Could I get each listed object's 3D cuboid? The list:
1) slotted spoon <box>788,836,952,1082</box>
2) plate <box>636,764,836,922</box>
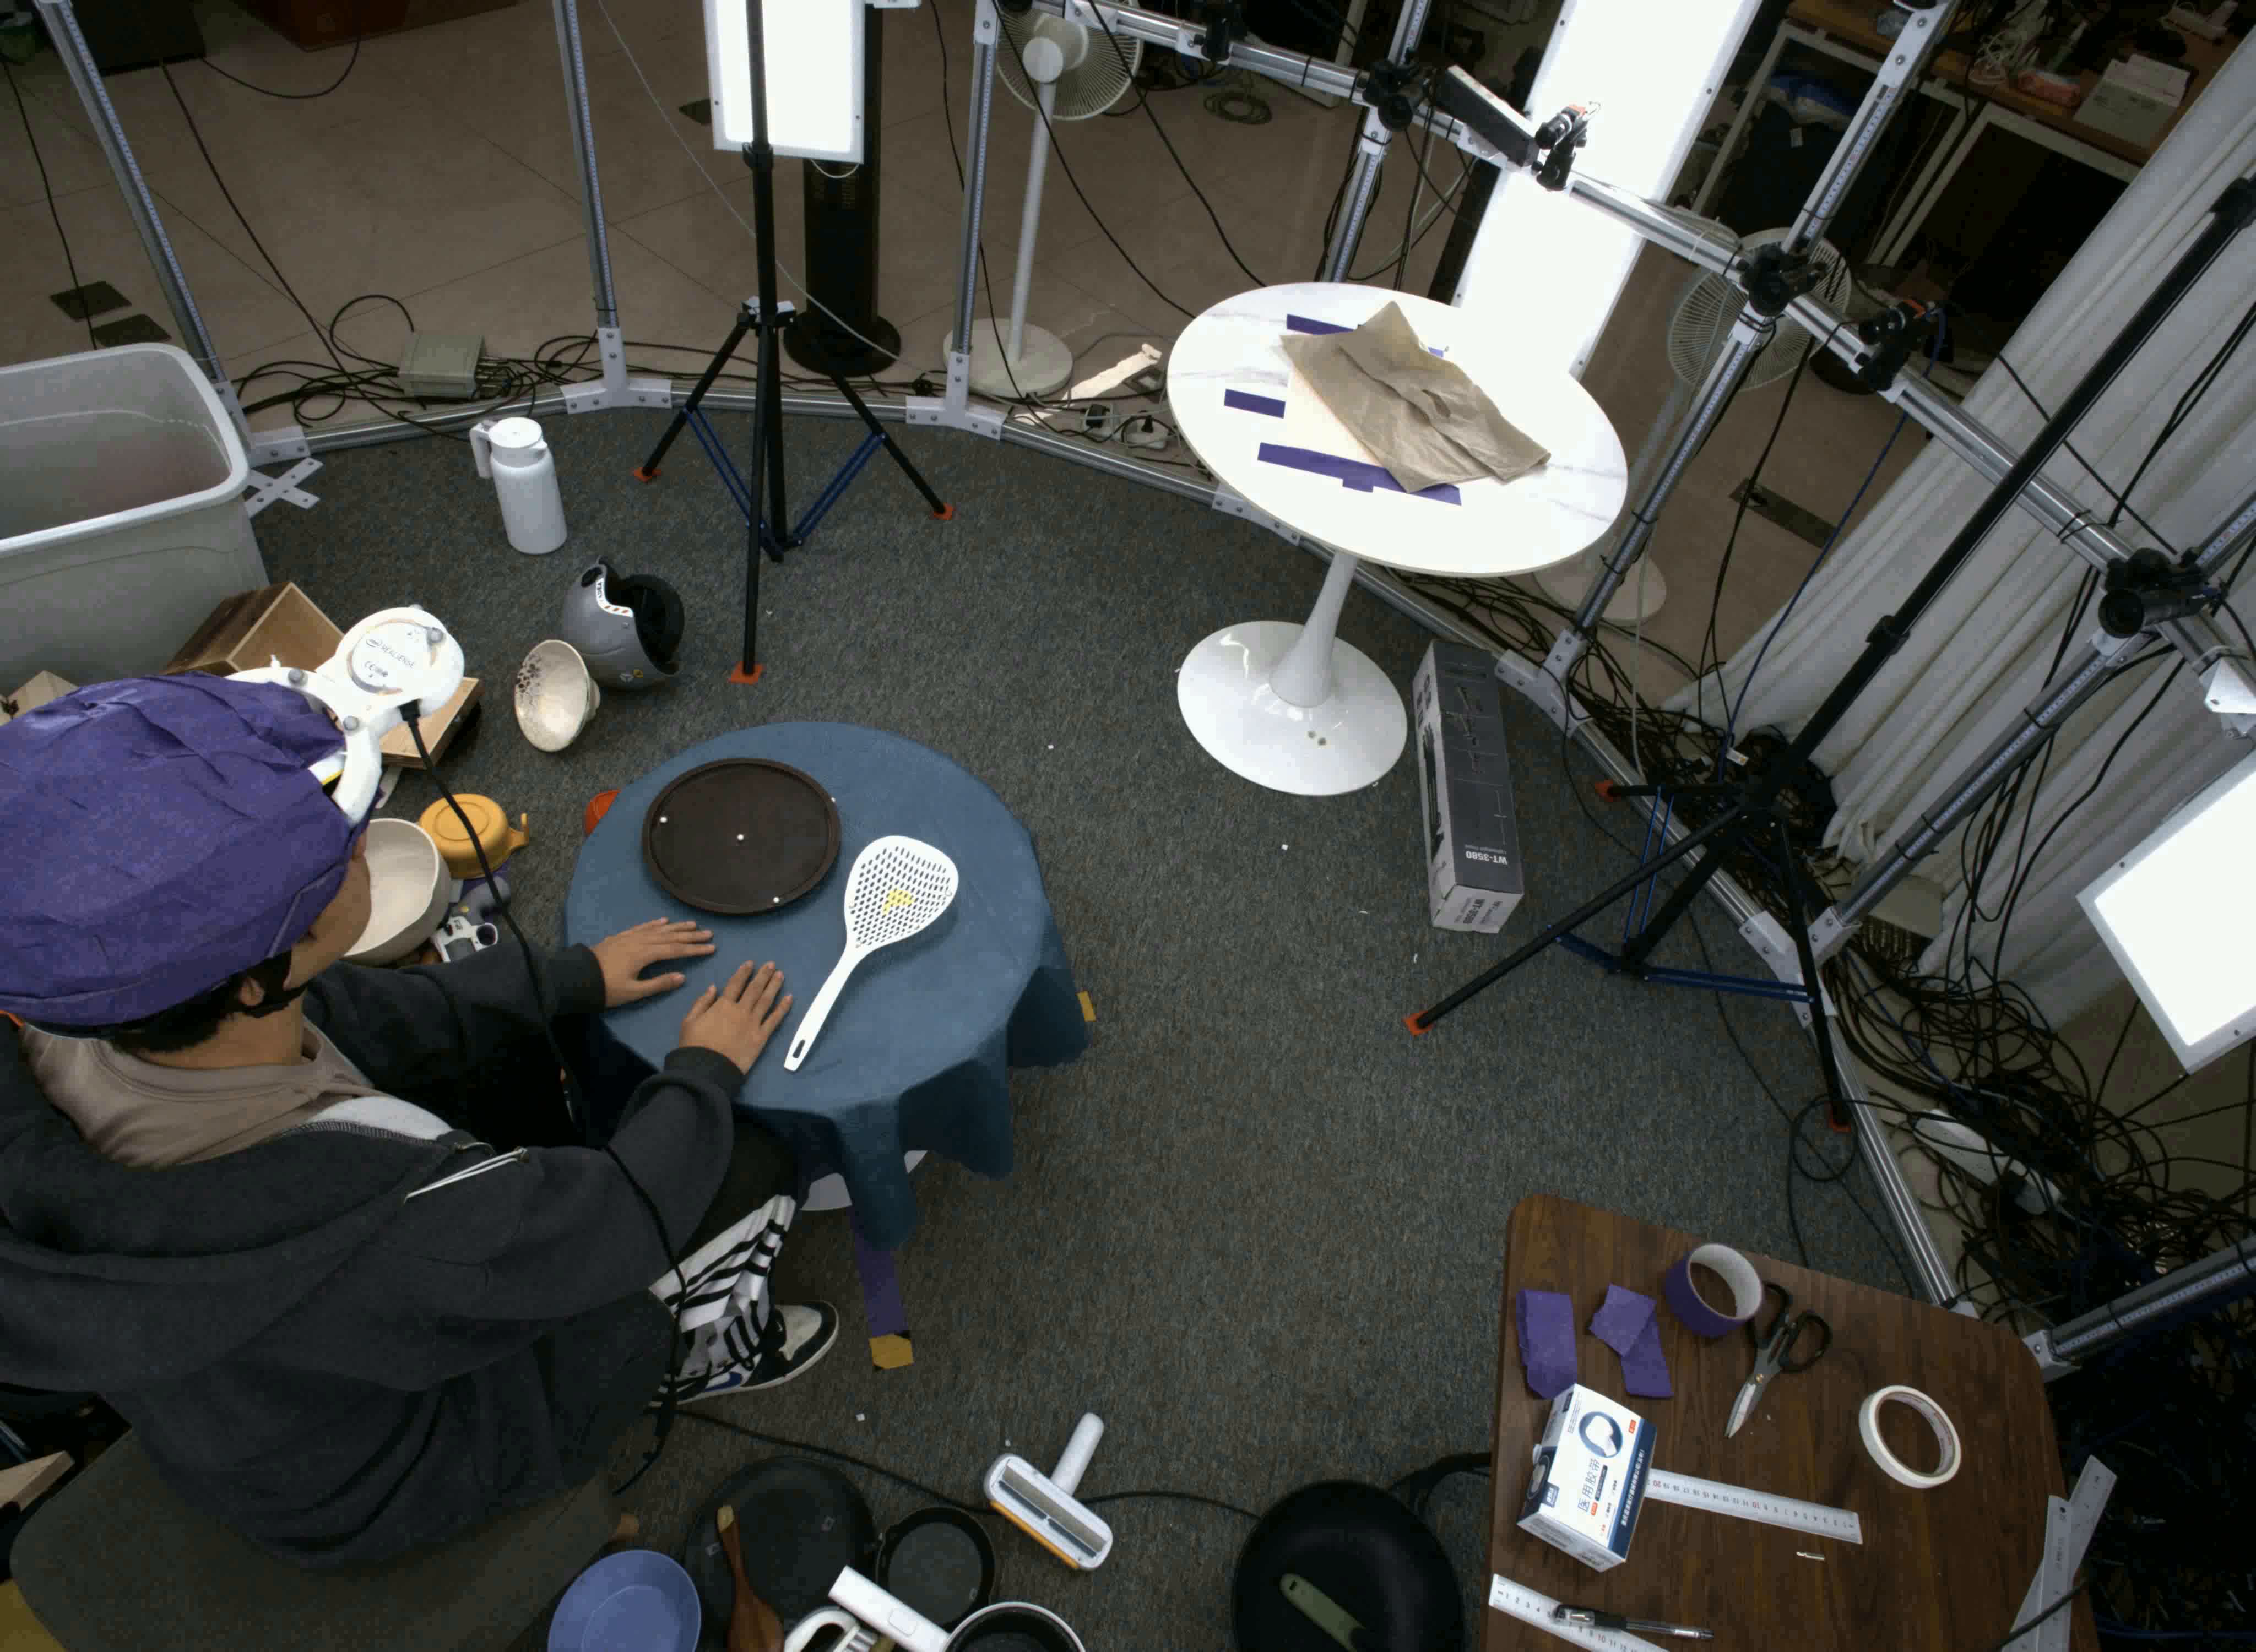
[{"bbox_3d":[-0.337,0.157,1.607,0.135,0.051,0.345,24,52,2],"label":"slotted spoon"},{"bbox_3d":[-0.508,0.019,1.678,0.254,0.029,0.250,8,53,-10],"label":"plate"}]
